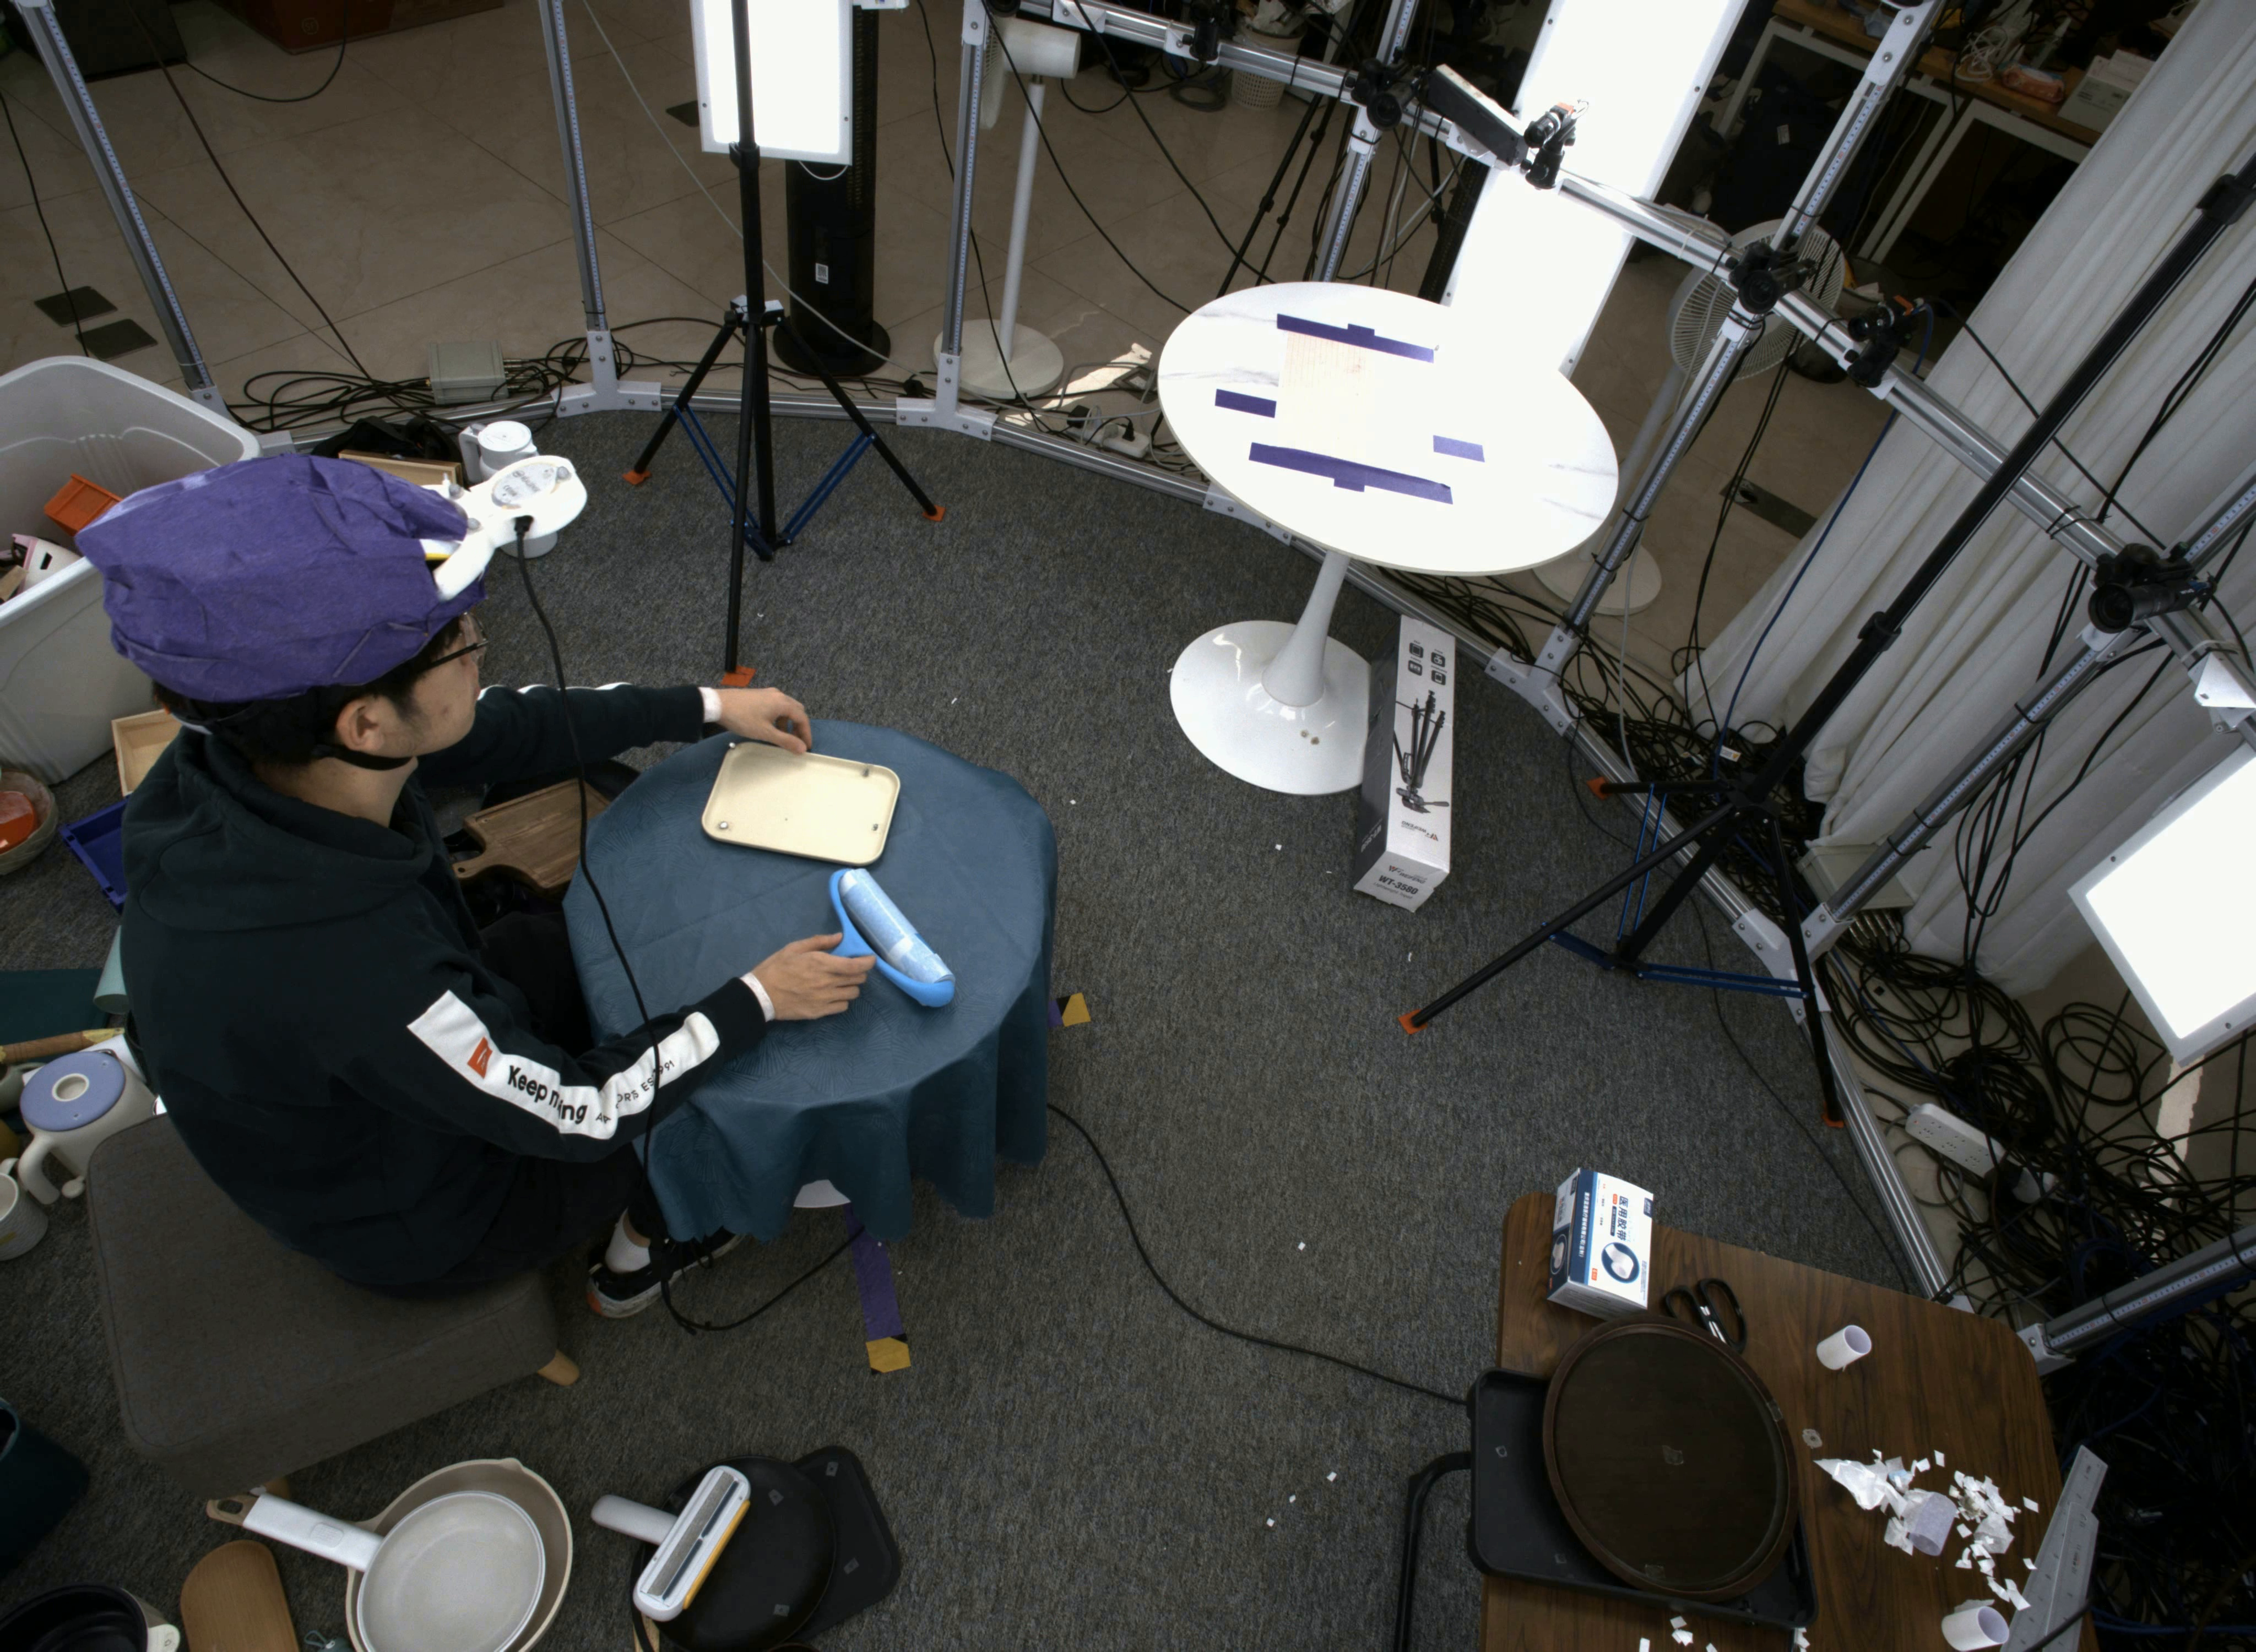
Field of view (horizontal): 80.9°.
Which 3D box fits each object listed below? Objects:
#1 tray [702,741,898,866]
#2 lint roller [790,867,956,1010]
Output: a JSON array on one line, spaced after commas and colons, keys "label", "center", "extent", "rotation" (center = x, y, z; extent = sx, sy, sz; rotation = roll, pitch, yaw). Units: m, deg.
[{"label": "tray", "center": [-0.437, -0.031, 1.738], "extent": [0.239, 0.018, 0.168], "rotation": [11, 53, -7]}, {"label": "lint roller", "center": [-0.336, 0.161, 1.598], "extent": [0.181, 0.069, 0.224], "rotation": [-34, 70, -33]}]
